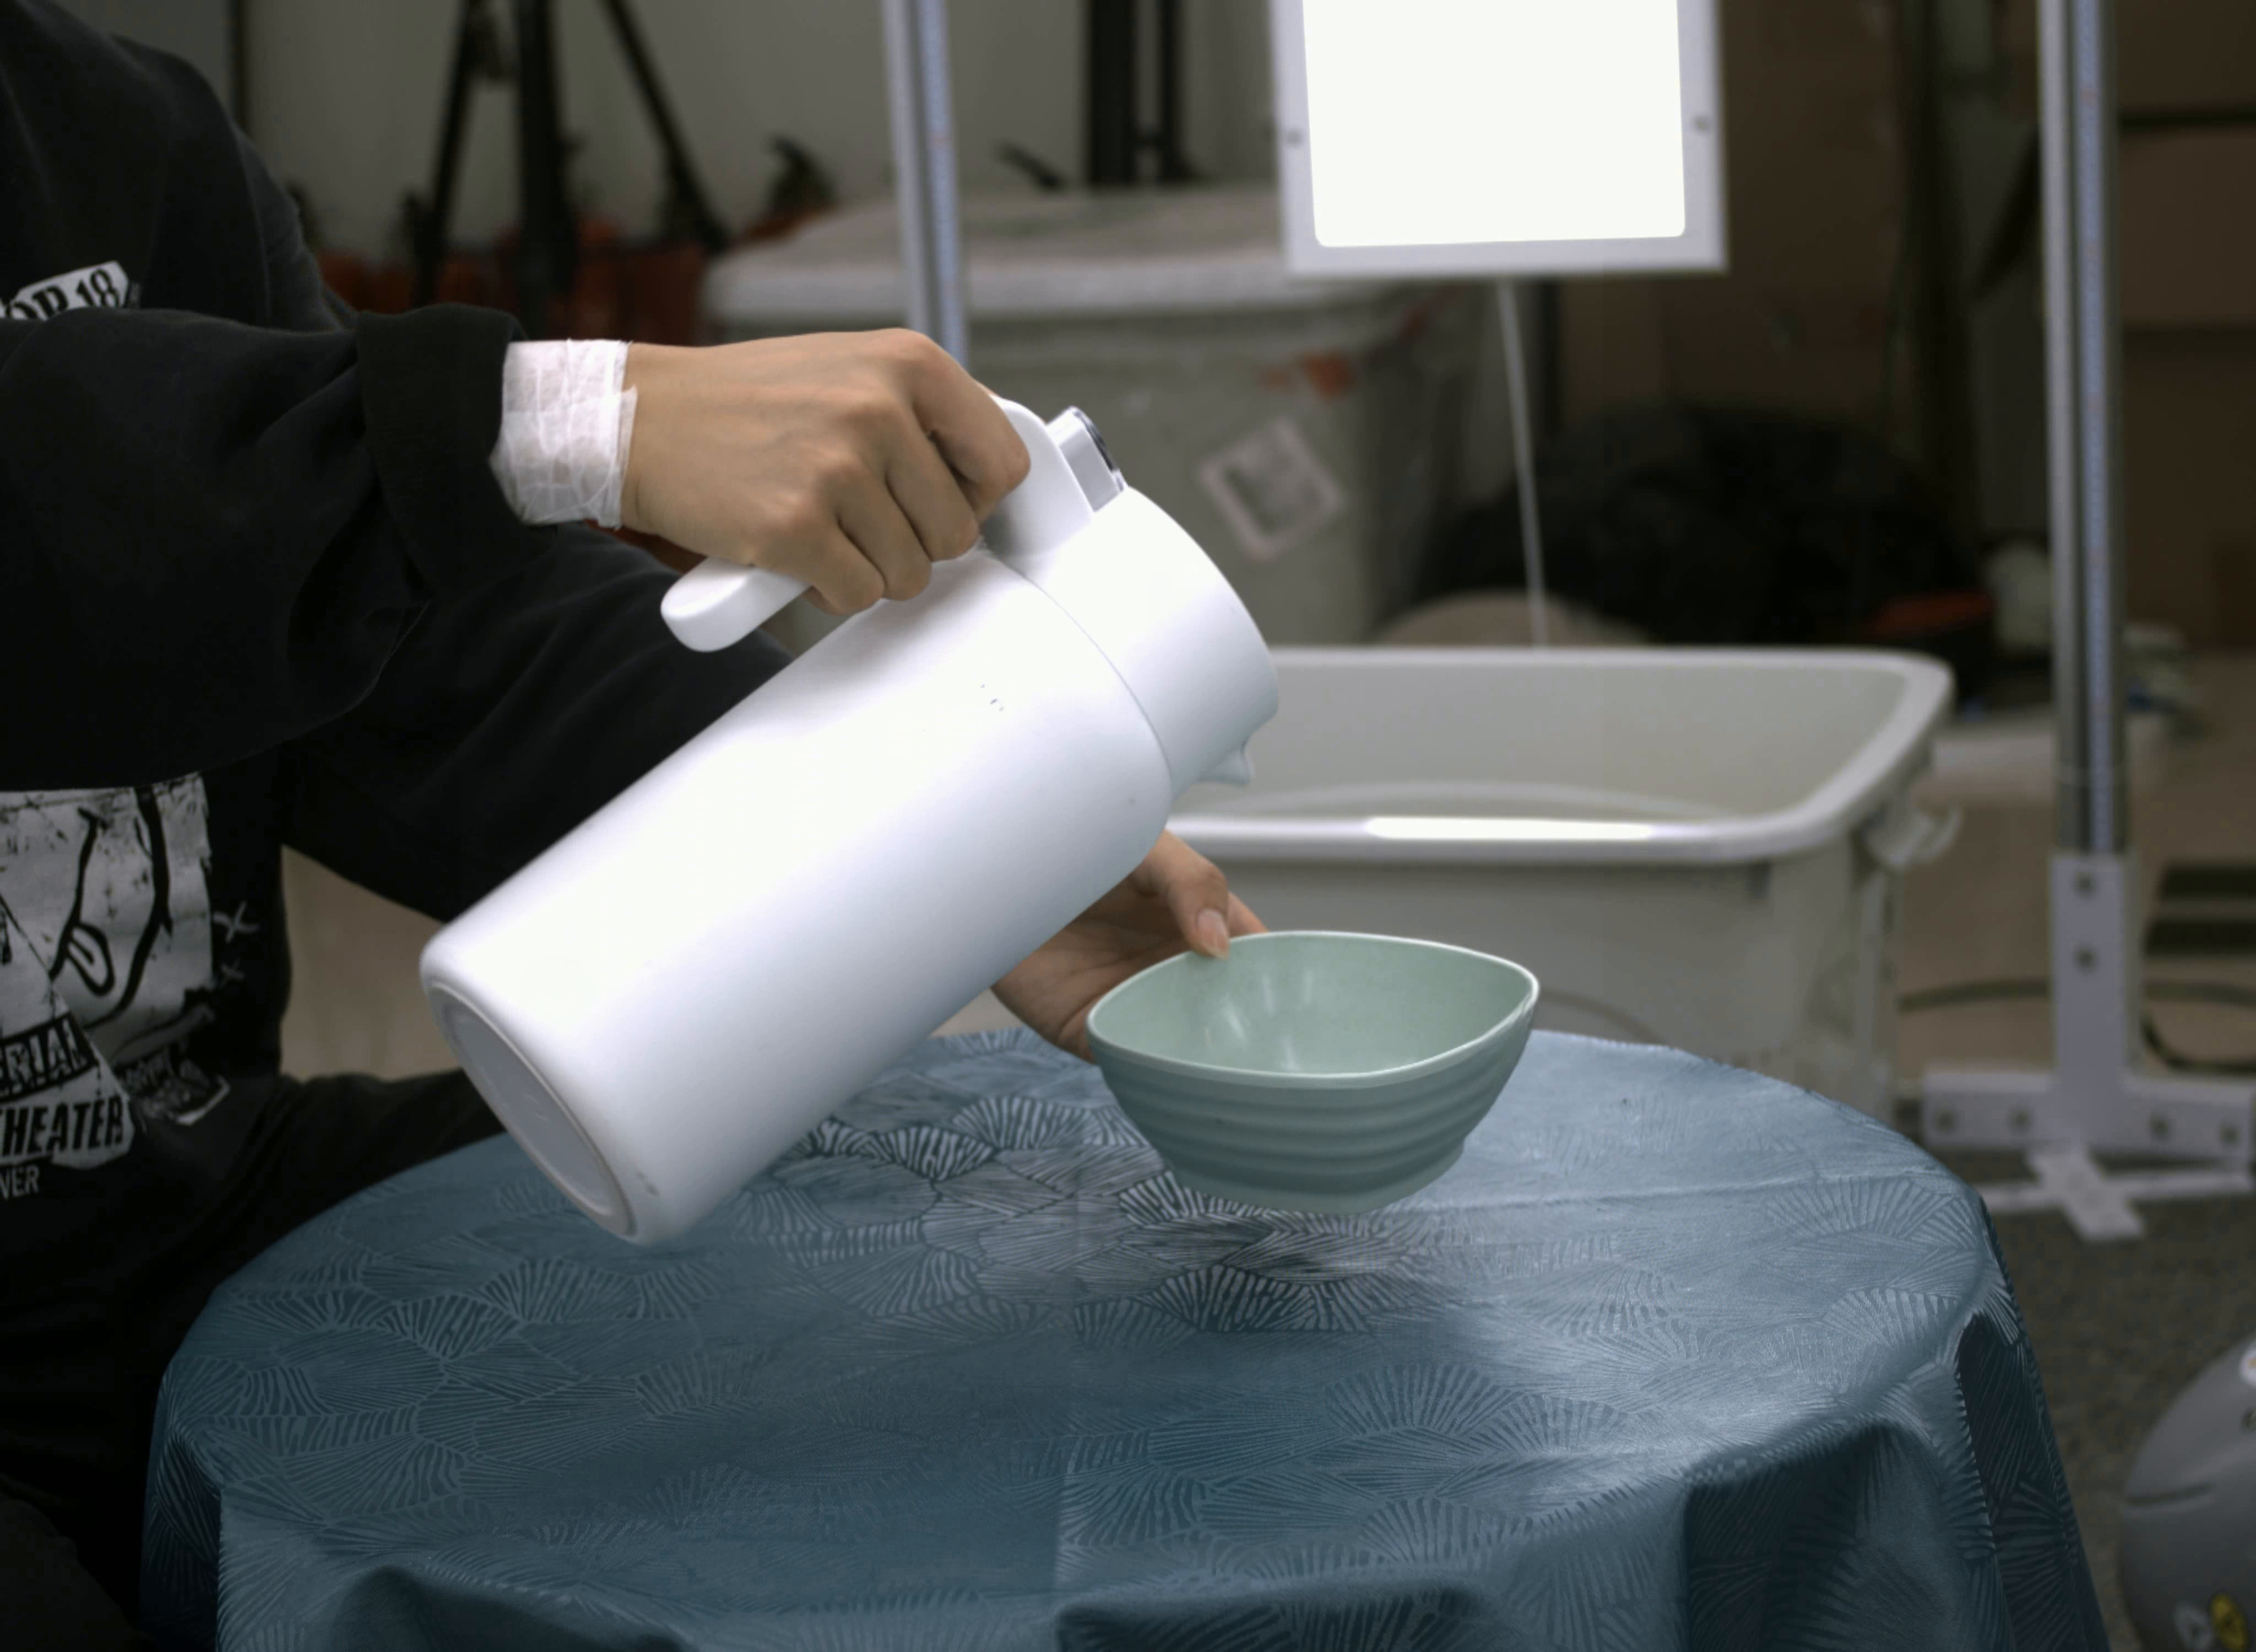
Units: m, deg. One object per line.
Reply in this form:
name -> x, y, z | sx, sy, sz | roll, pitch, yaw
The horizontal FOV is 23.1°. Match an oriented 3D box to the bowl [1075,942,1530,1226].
bowl -> 0.059, 0.088, 1.800 | 0.151, 0.059, 0.151 | -5, 17, 0

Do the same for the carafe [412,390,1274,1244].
carafe -> -0.091, -0.006, 1.691 | 0.266, 0.172, 0.126 | -36, 30, -14
